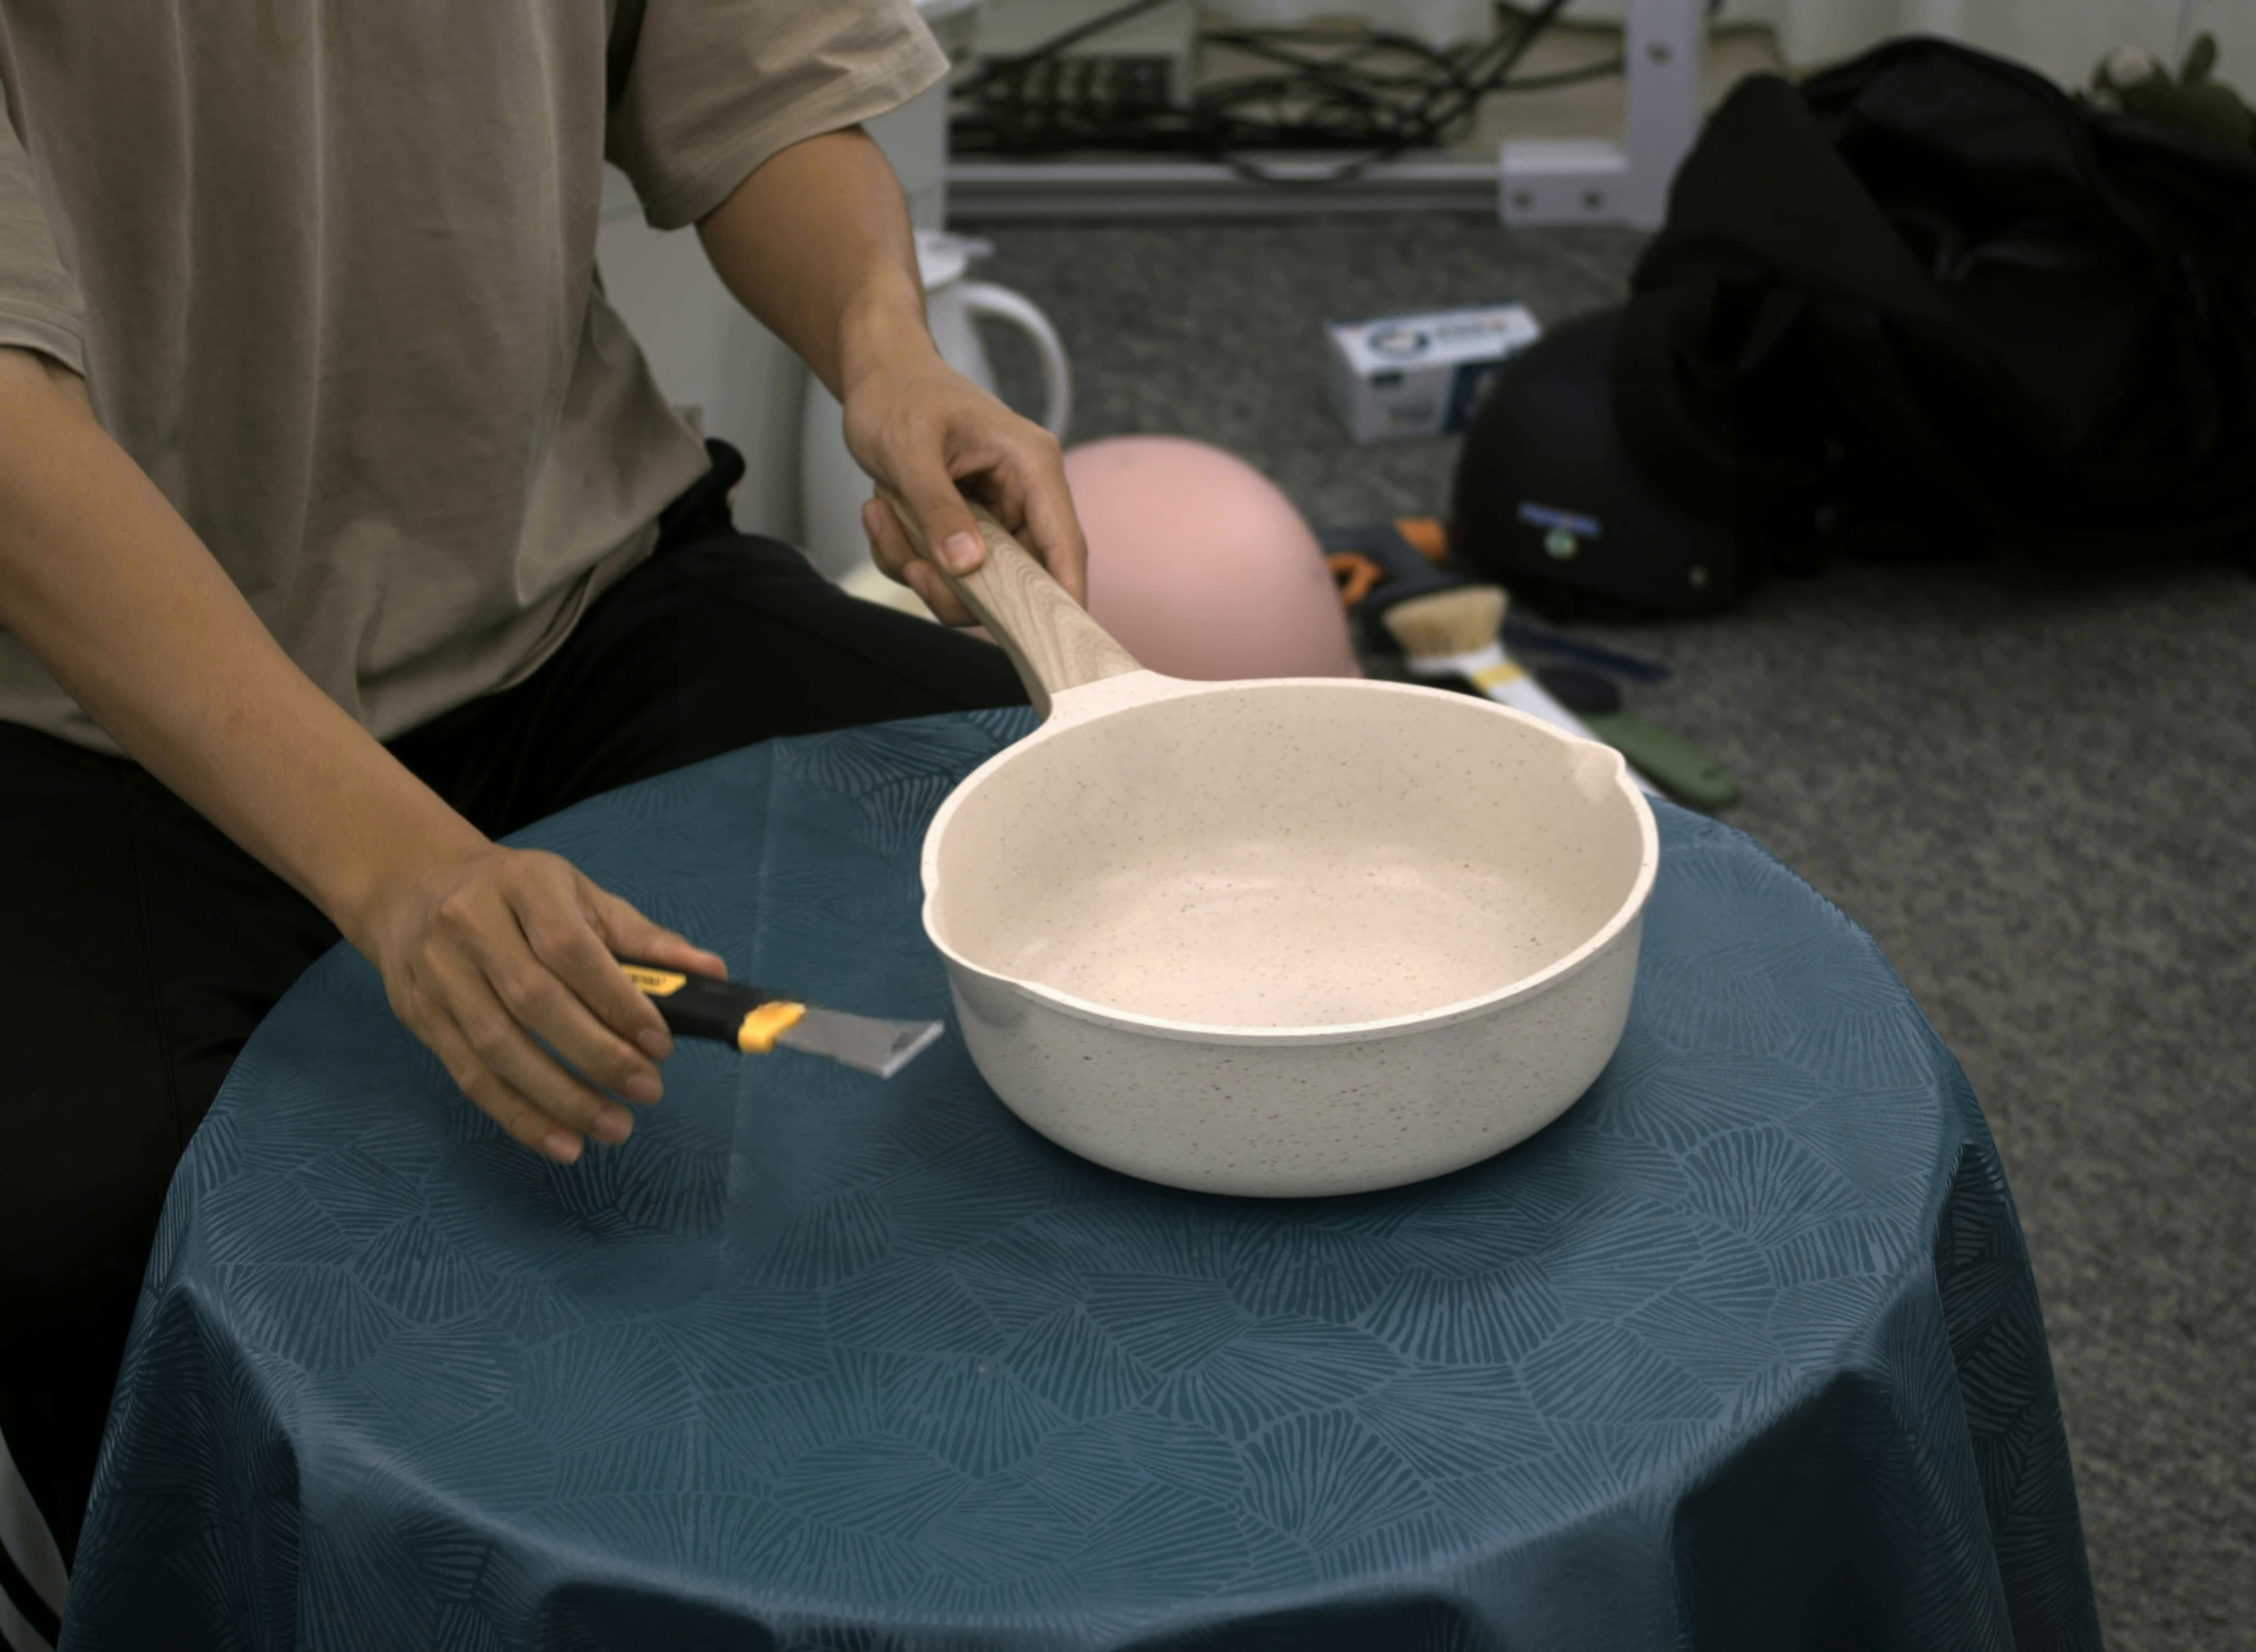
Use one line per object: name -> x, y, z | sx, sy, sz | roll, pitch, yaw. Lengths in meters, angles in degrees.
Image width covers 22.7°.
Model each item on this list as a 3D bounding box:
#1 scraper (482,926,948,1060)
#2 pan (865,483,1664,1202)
scraper -> -0.138, 0.054, 1.821 | 0.170, 0.015, 0.039 | 8, 34, 29
pan -> 0.016, -0.001, 1.995 | 0.265, 0.101, 0.437 | -18, 31, -22
